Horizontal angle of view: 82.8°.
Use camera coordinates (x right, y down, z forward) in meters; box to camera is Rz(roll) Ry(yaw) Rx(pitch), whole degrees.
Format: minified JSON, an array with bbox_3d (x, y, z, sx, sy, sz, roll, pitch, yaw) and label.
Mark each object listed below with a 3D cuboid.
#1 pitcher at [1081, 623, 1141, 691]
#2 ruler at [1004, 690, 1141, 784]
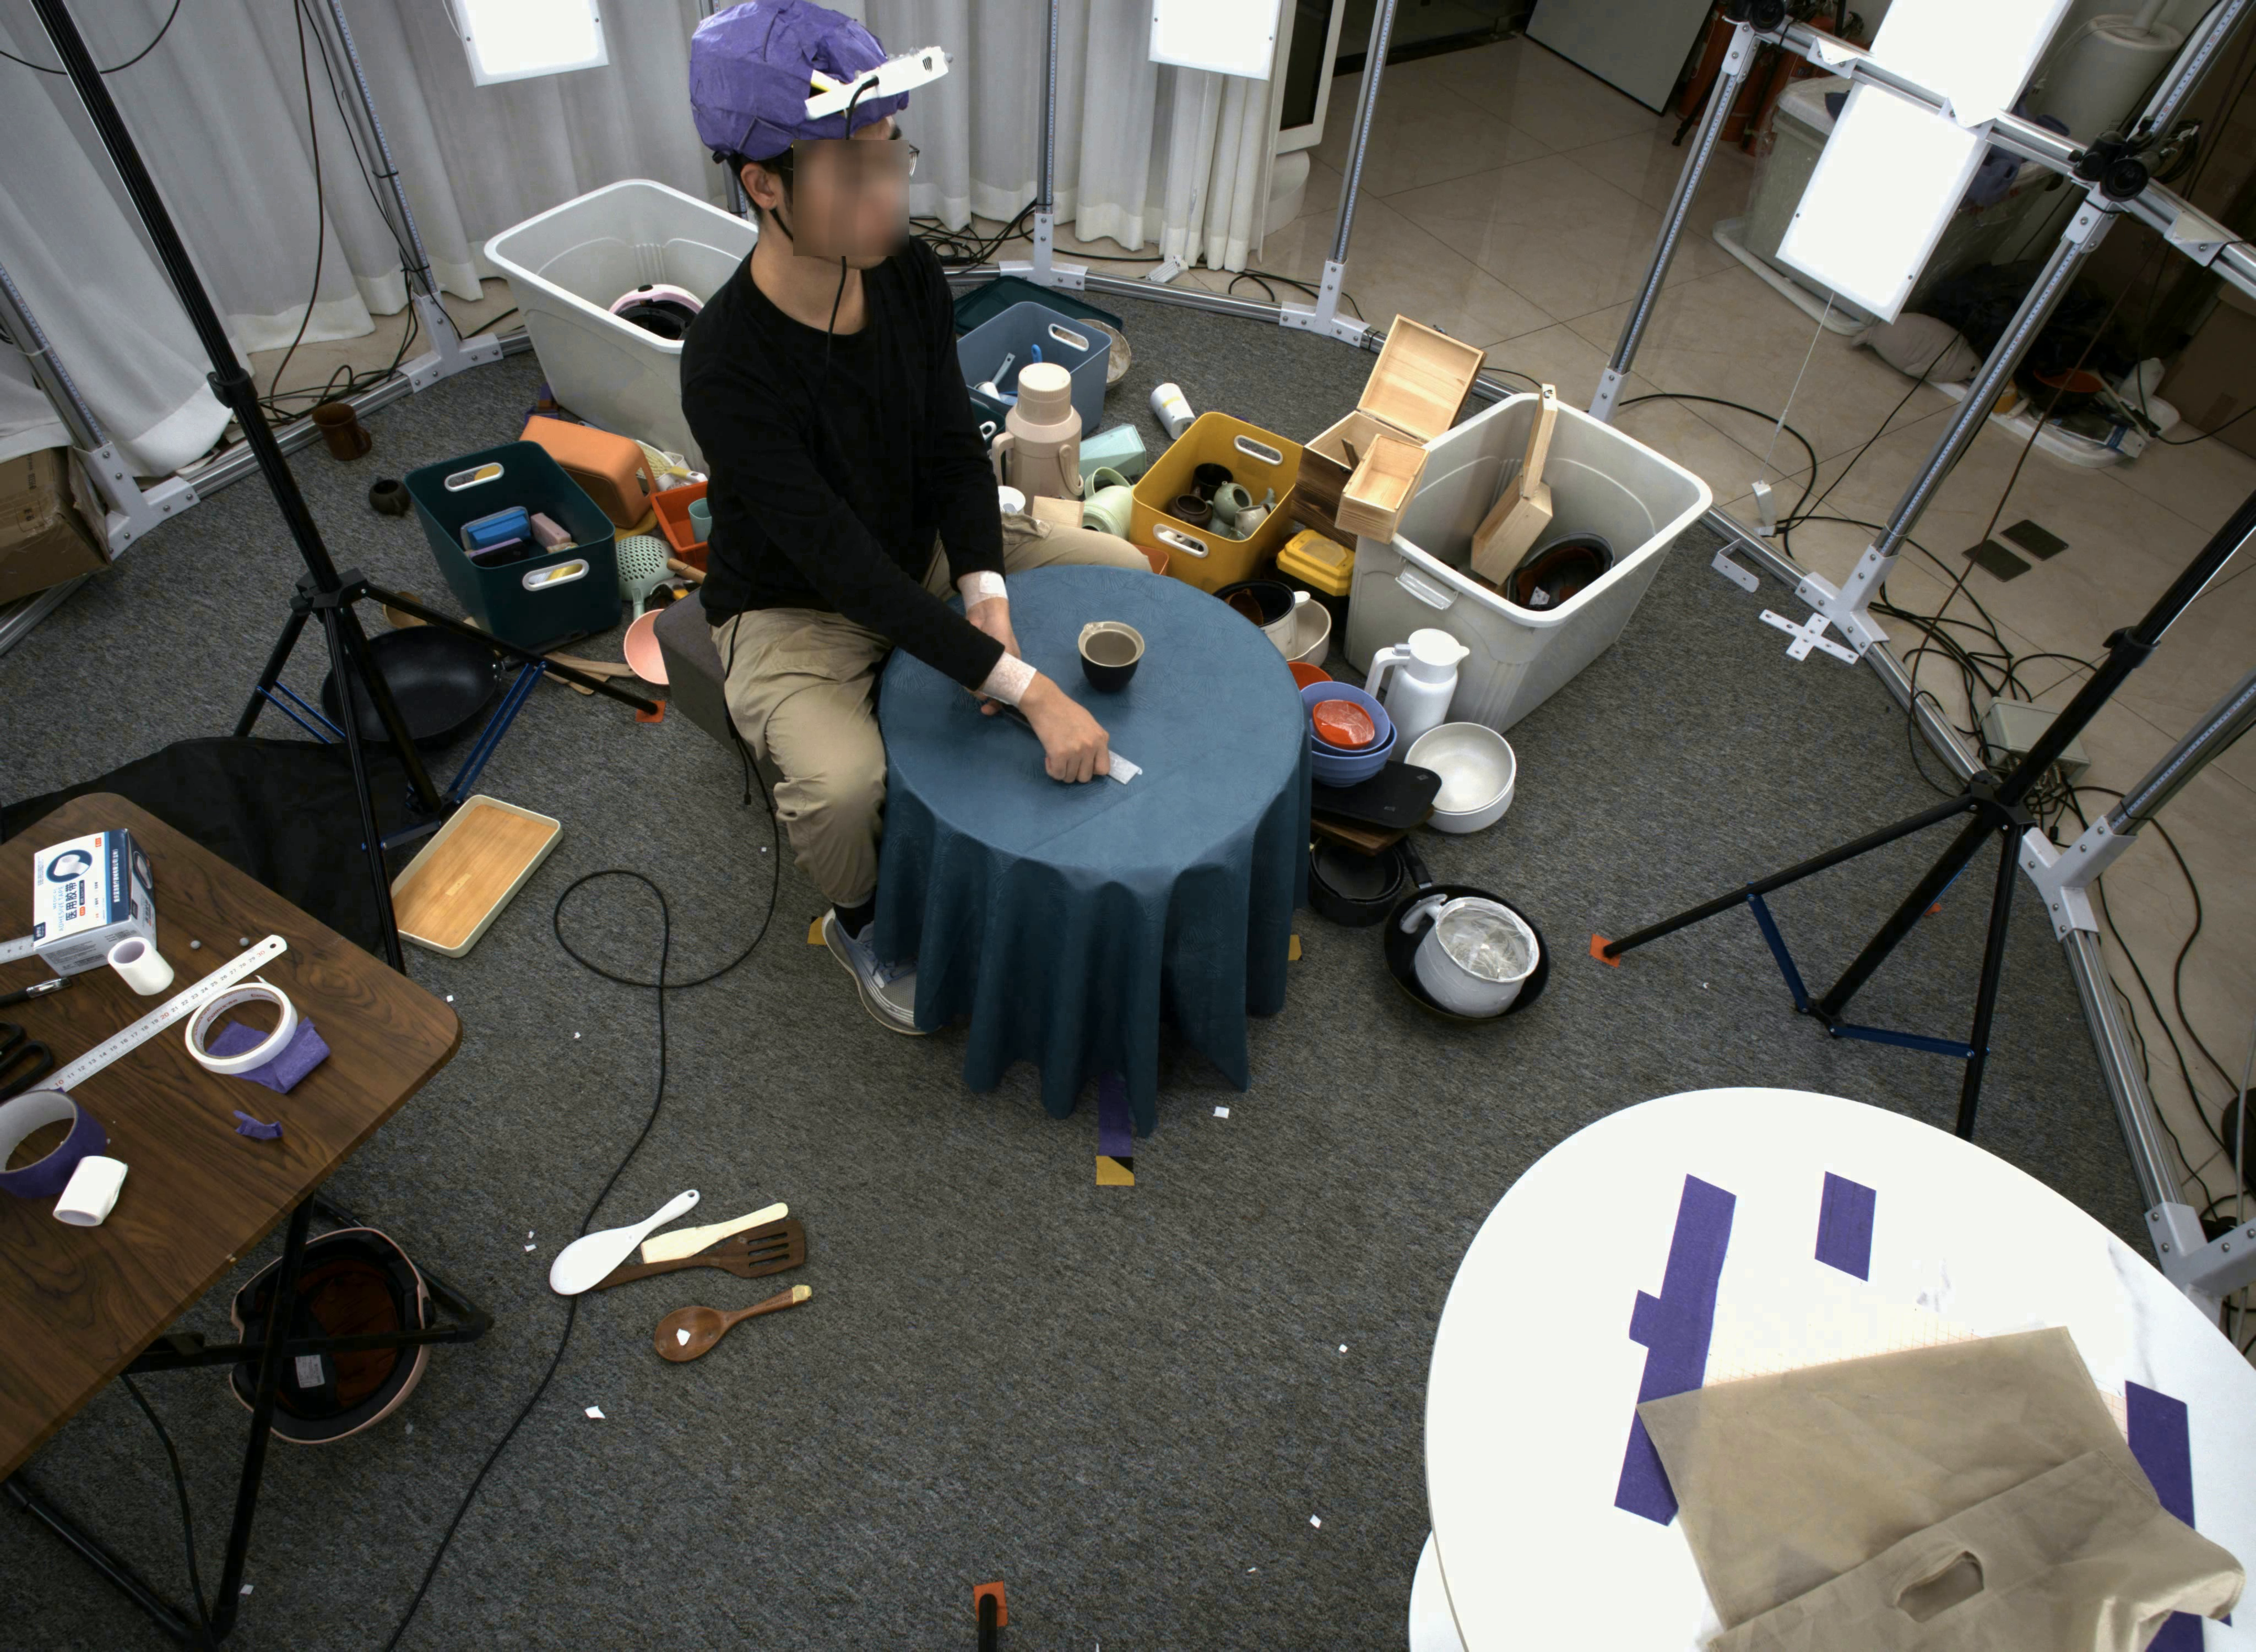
[{"bbox_3d":[-0.029,-0.237,1.826,0.084,0.069,0.097,-31,59,-26],"label":"pitcher"},{"bbox_3d":[-0.080,-0.125,1.753,0.220,0.023,0.039,31,58,19],"label":"ruler"}]
